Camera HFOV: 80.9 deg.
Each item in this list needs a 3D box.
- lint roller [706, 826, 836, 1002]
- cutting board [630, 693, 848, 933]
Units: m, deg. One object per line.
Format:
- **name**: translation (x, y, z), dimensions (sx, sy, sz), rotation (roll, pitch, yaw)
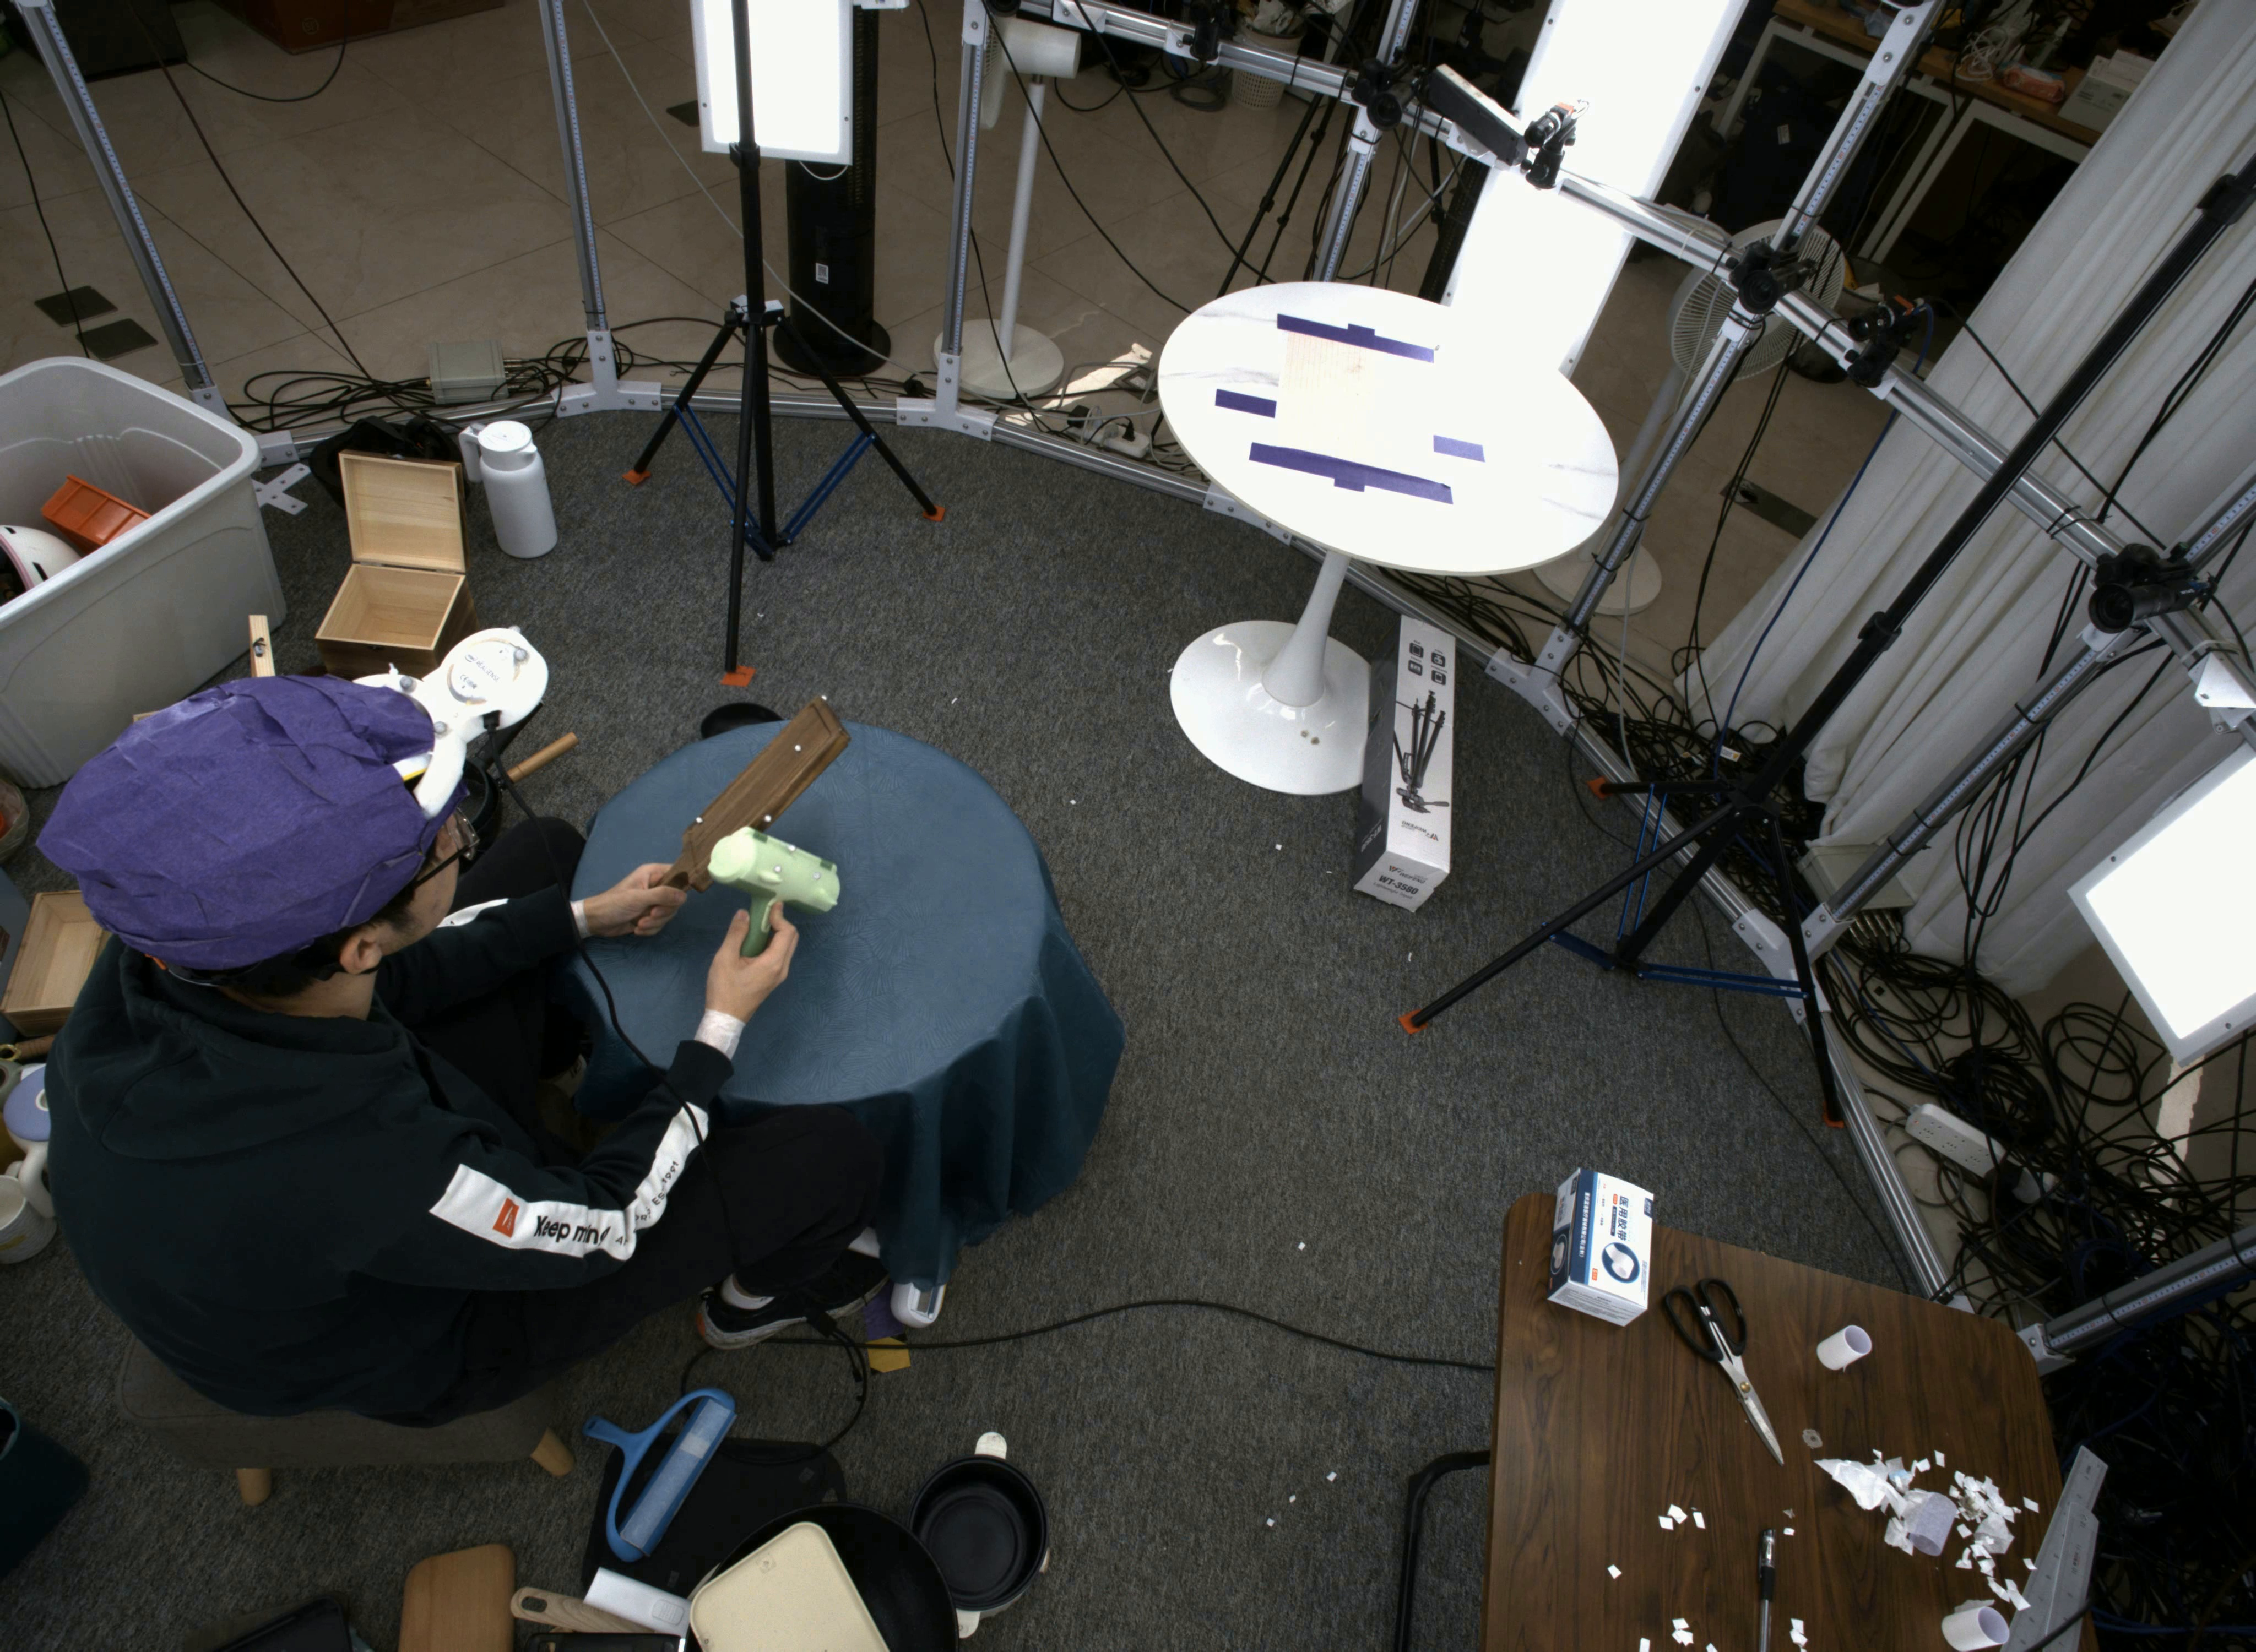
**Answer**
- **lint roller**: translation (-0.408, 0.111, 1.470), dimensions (0.080, 0.204, 0.184), rotation (8, 78, 20)
- **cutting board**: translation (-0.477, -0.011, 1.557), dimensions (0.352, 0.194, 0.024), rotation (-47, 117, -2)
